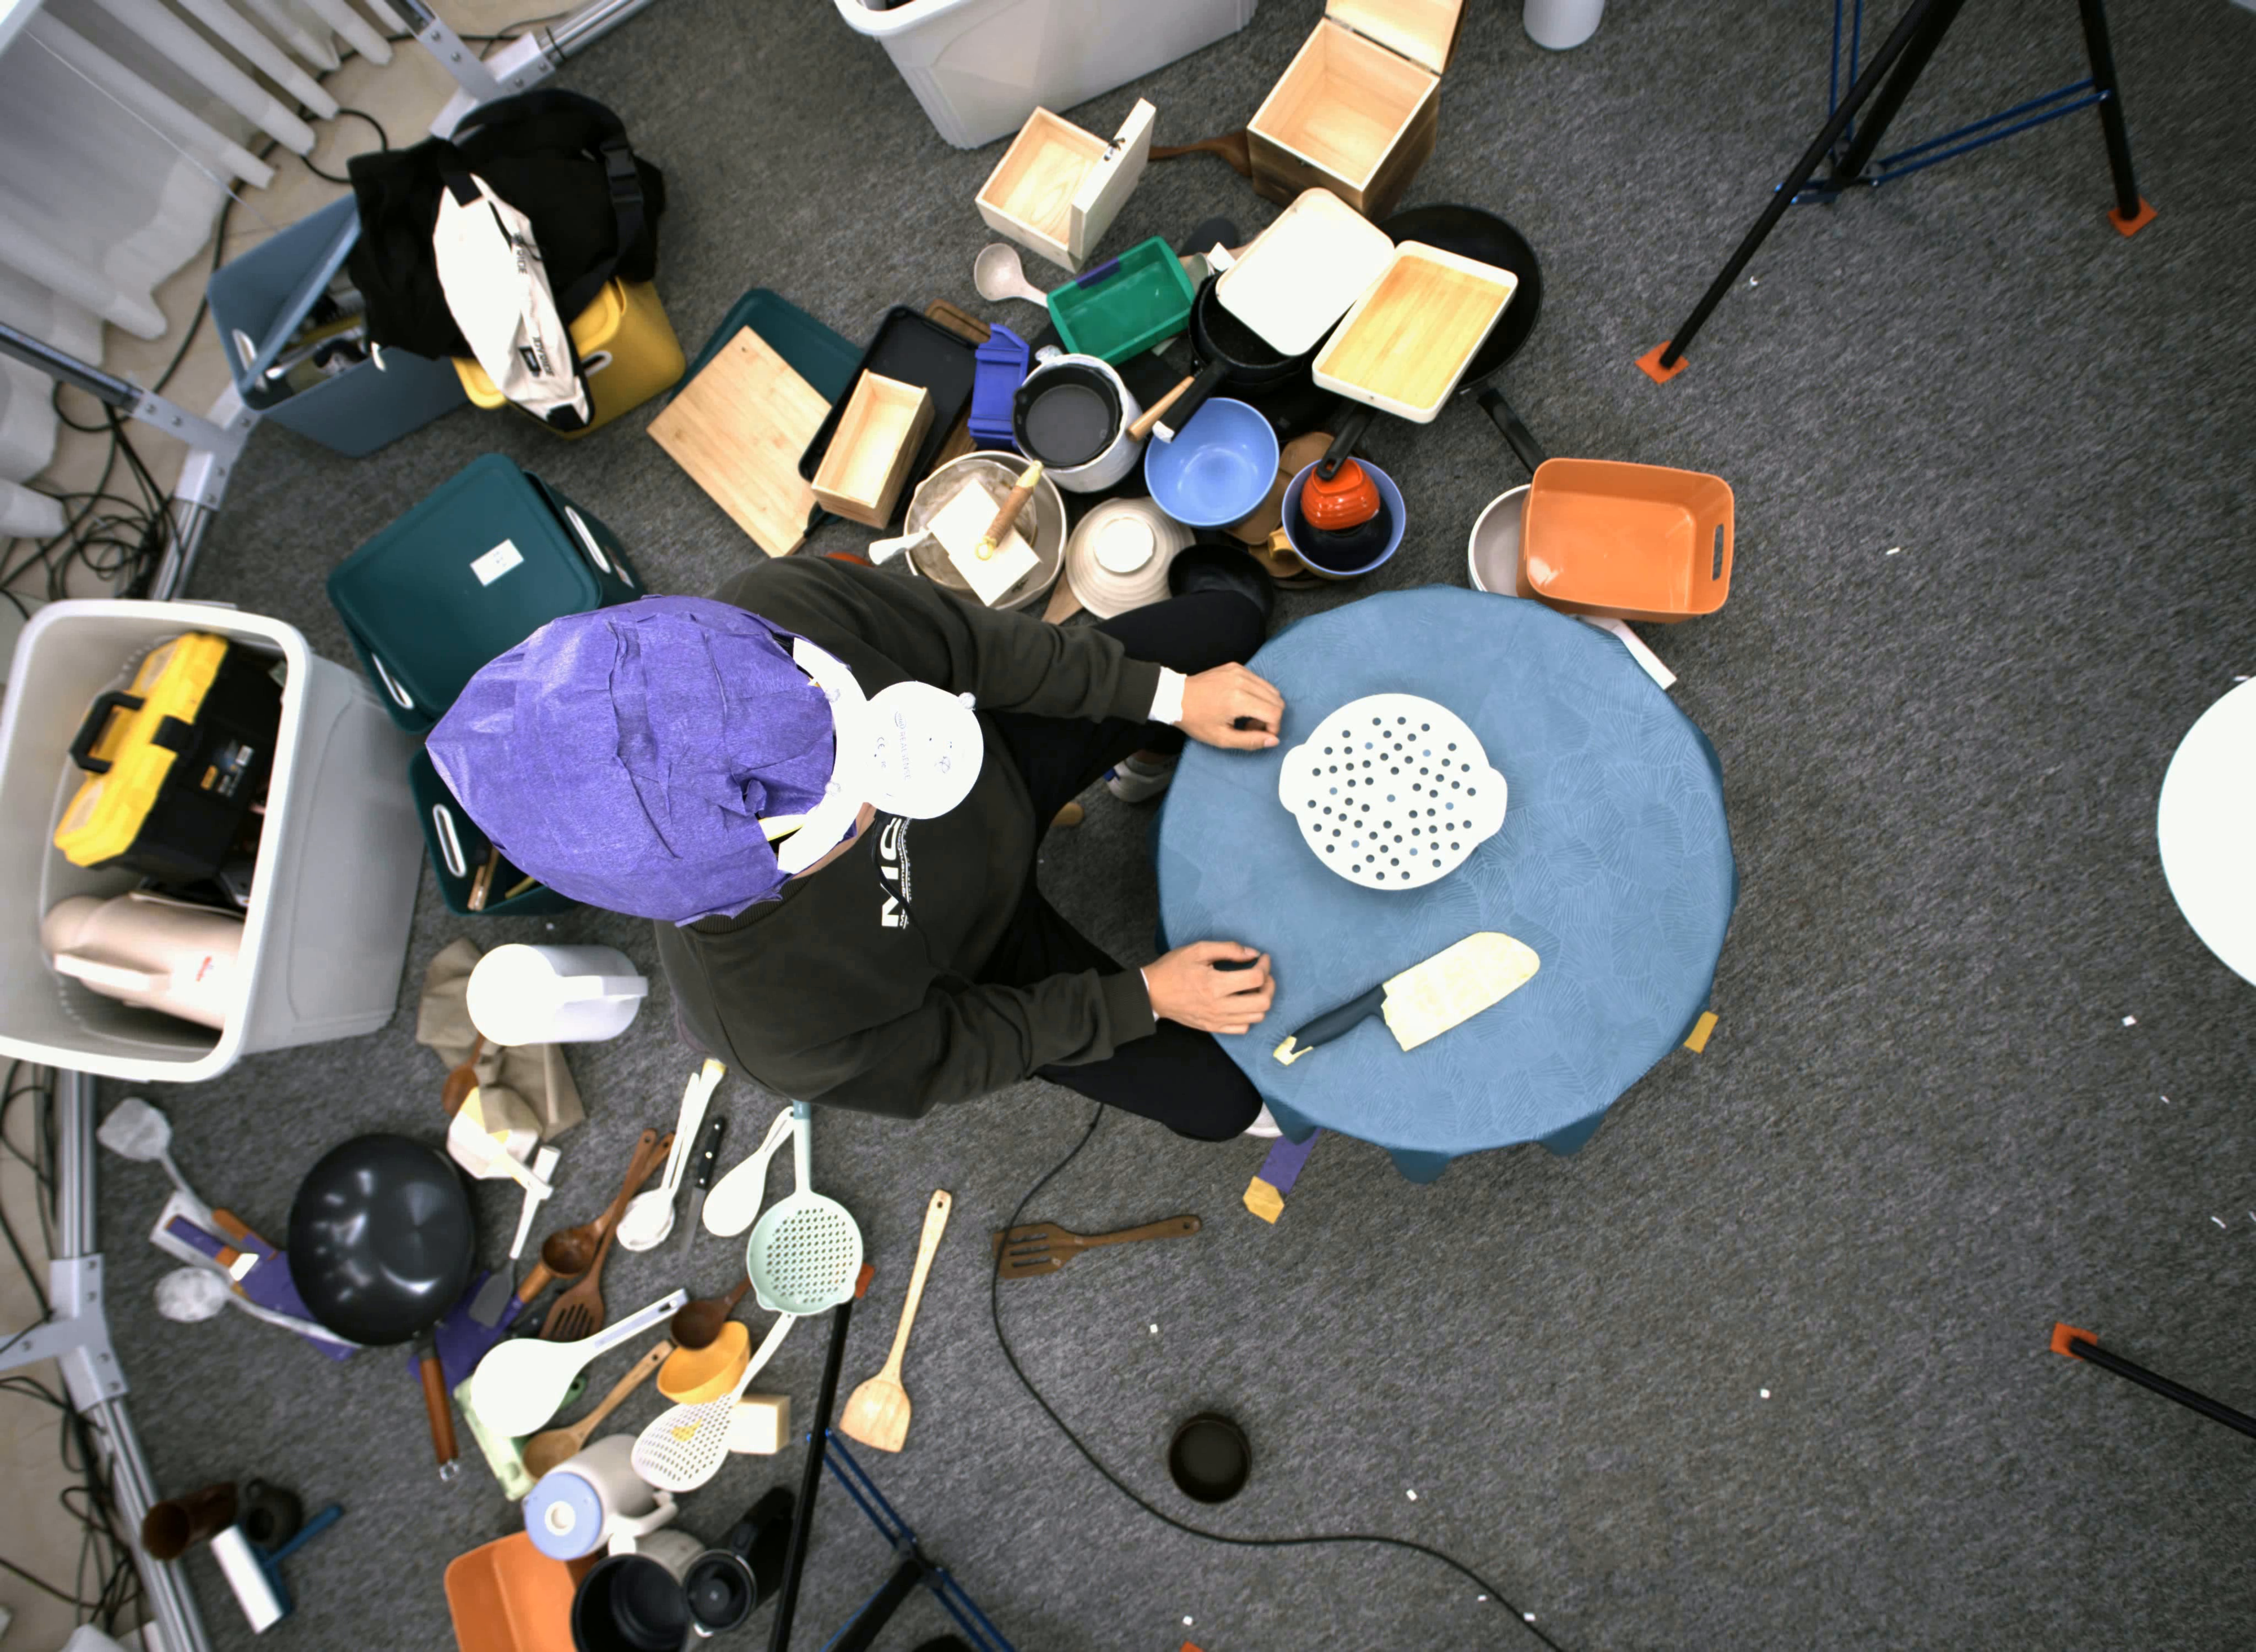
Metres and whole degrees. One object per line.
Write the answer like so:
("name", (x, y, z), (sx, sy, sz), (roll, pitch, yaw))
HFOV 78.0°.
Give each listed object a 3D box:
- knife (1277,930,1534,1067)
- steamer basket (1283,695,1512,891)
("knife", (0.291, 0.188, 1.442), (0.291, 0.027, 0.080), (-27, 80, 7))
("steamer basket", (0.278, -0.033, 1.430), (0.231, 0.069, 0.201), (8, 87, 12))
